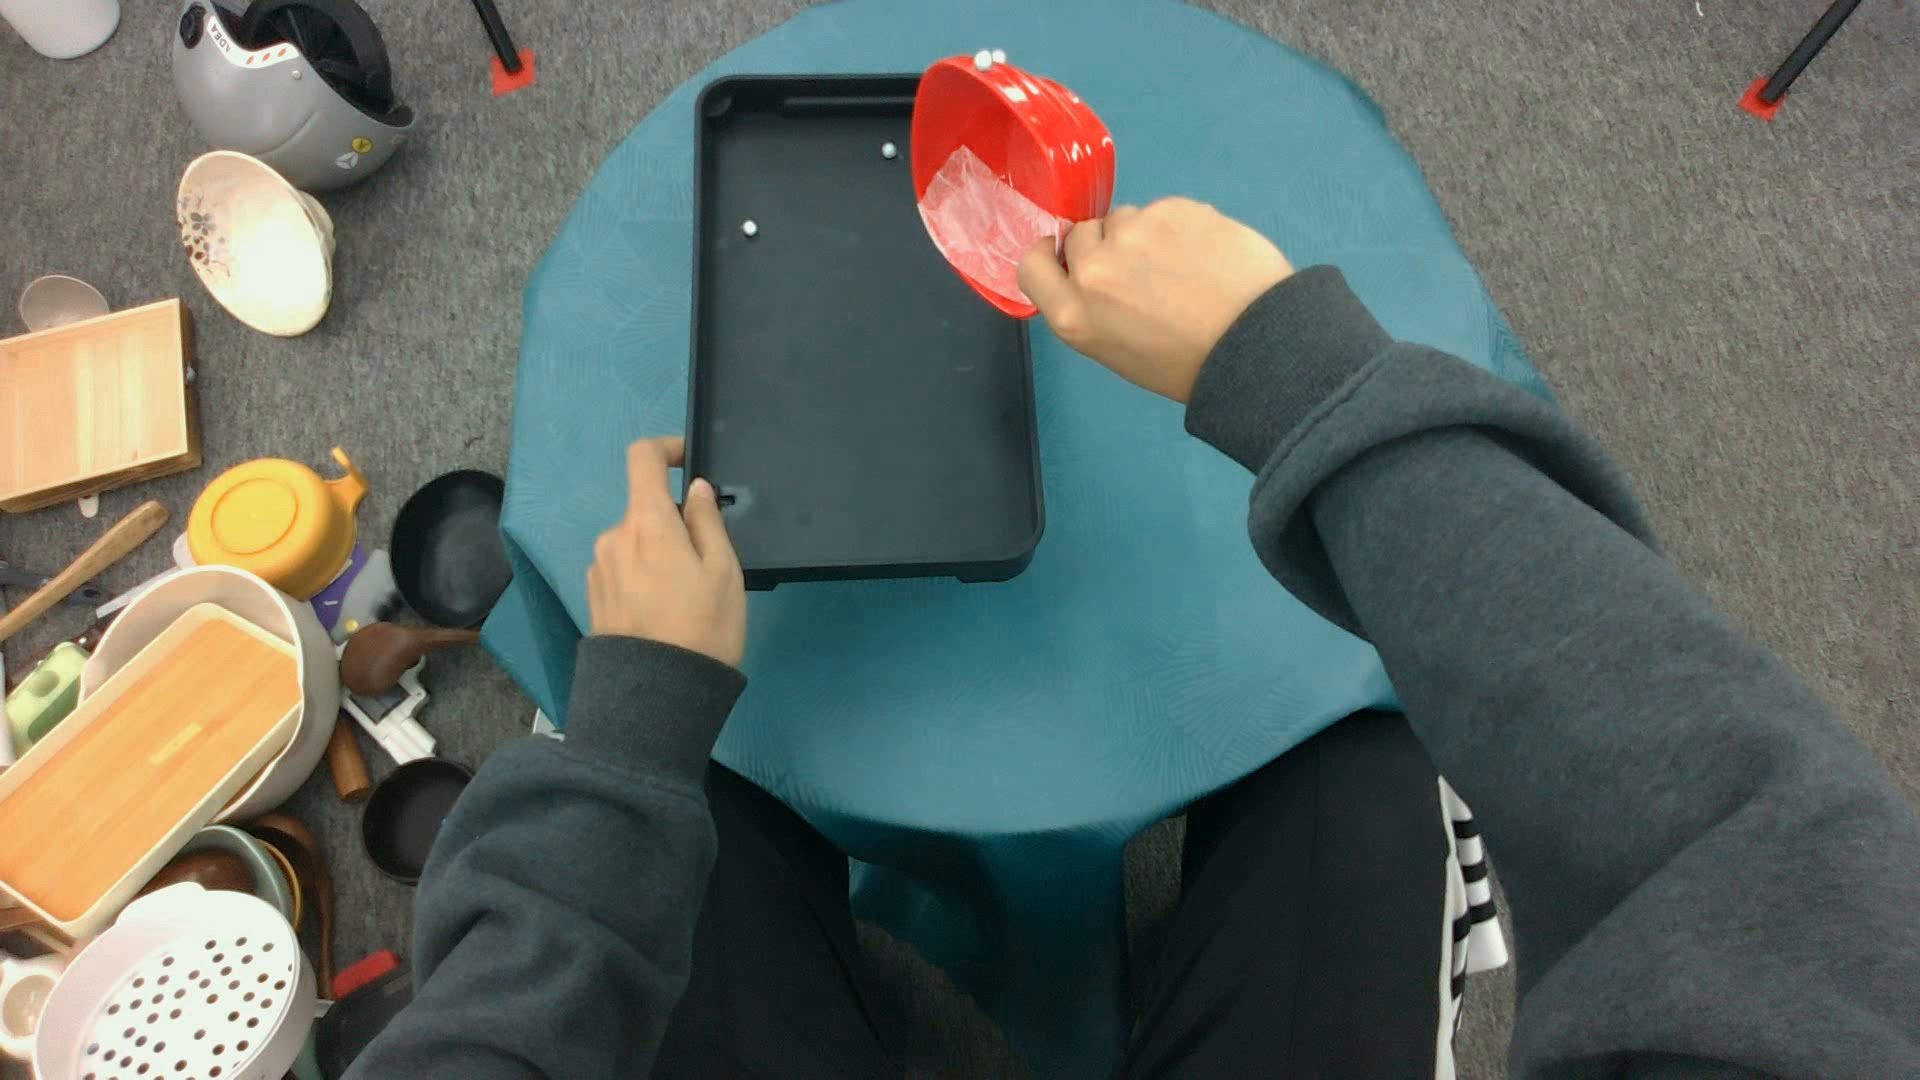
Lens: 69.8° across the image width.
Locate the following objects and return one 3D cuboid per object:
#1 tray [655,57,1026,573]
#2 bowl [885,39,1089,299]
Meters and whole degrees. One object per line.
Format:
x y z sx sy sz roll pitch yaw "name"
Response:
-0.069 -0.134 0.756 0.184 0.037 0.319 -2 64 -4 "tray"
0.018 -0.175 0.632 0.051 0.118 0.119 -28 69 -26 "bowl"
